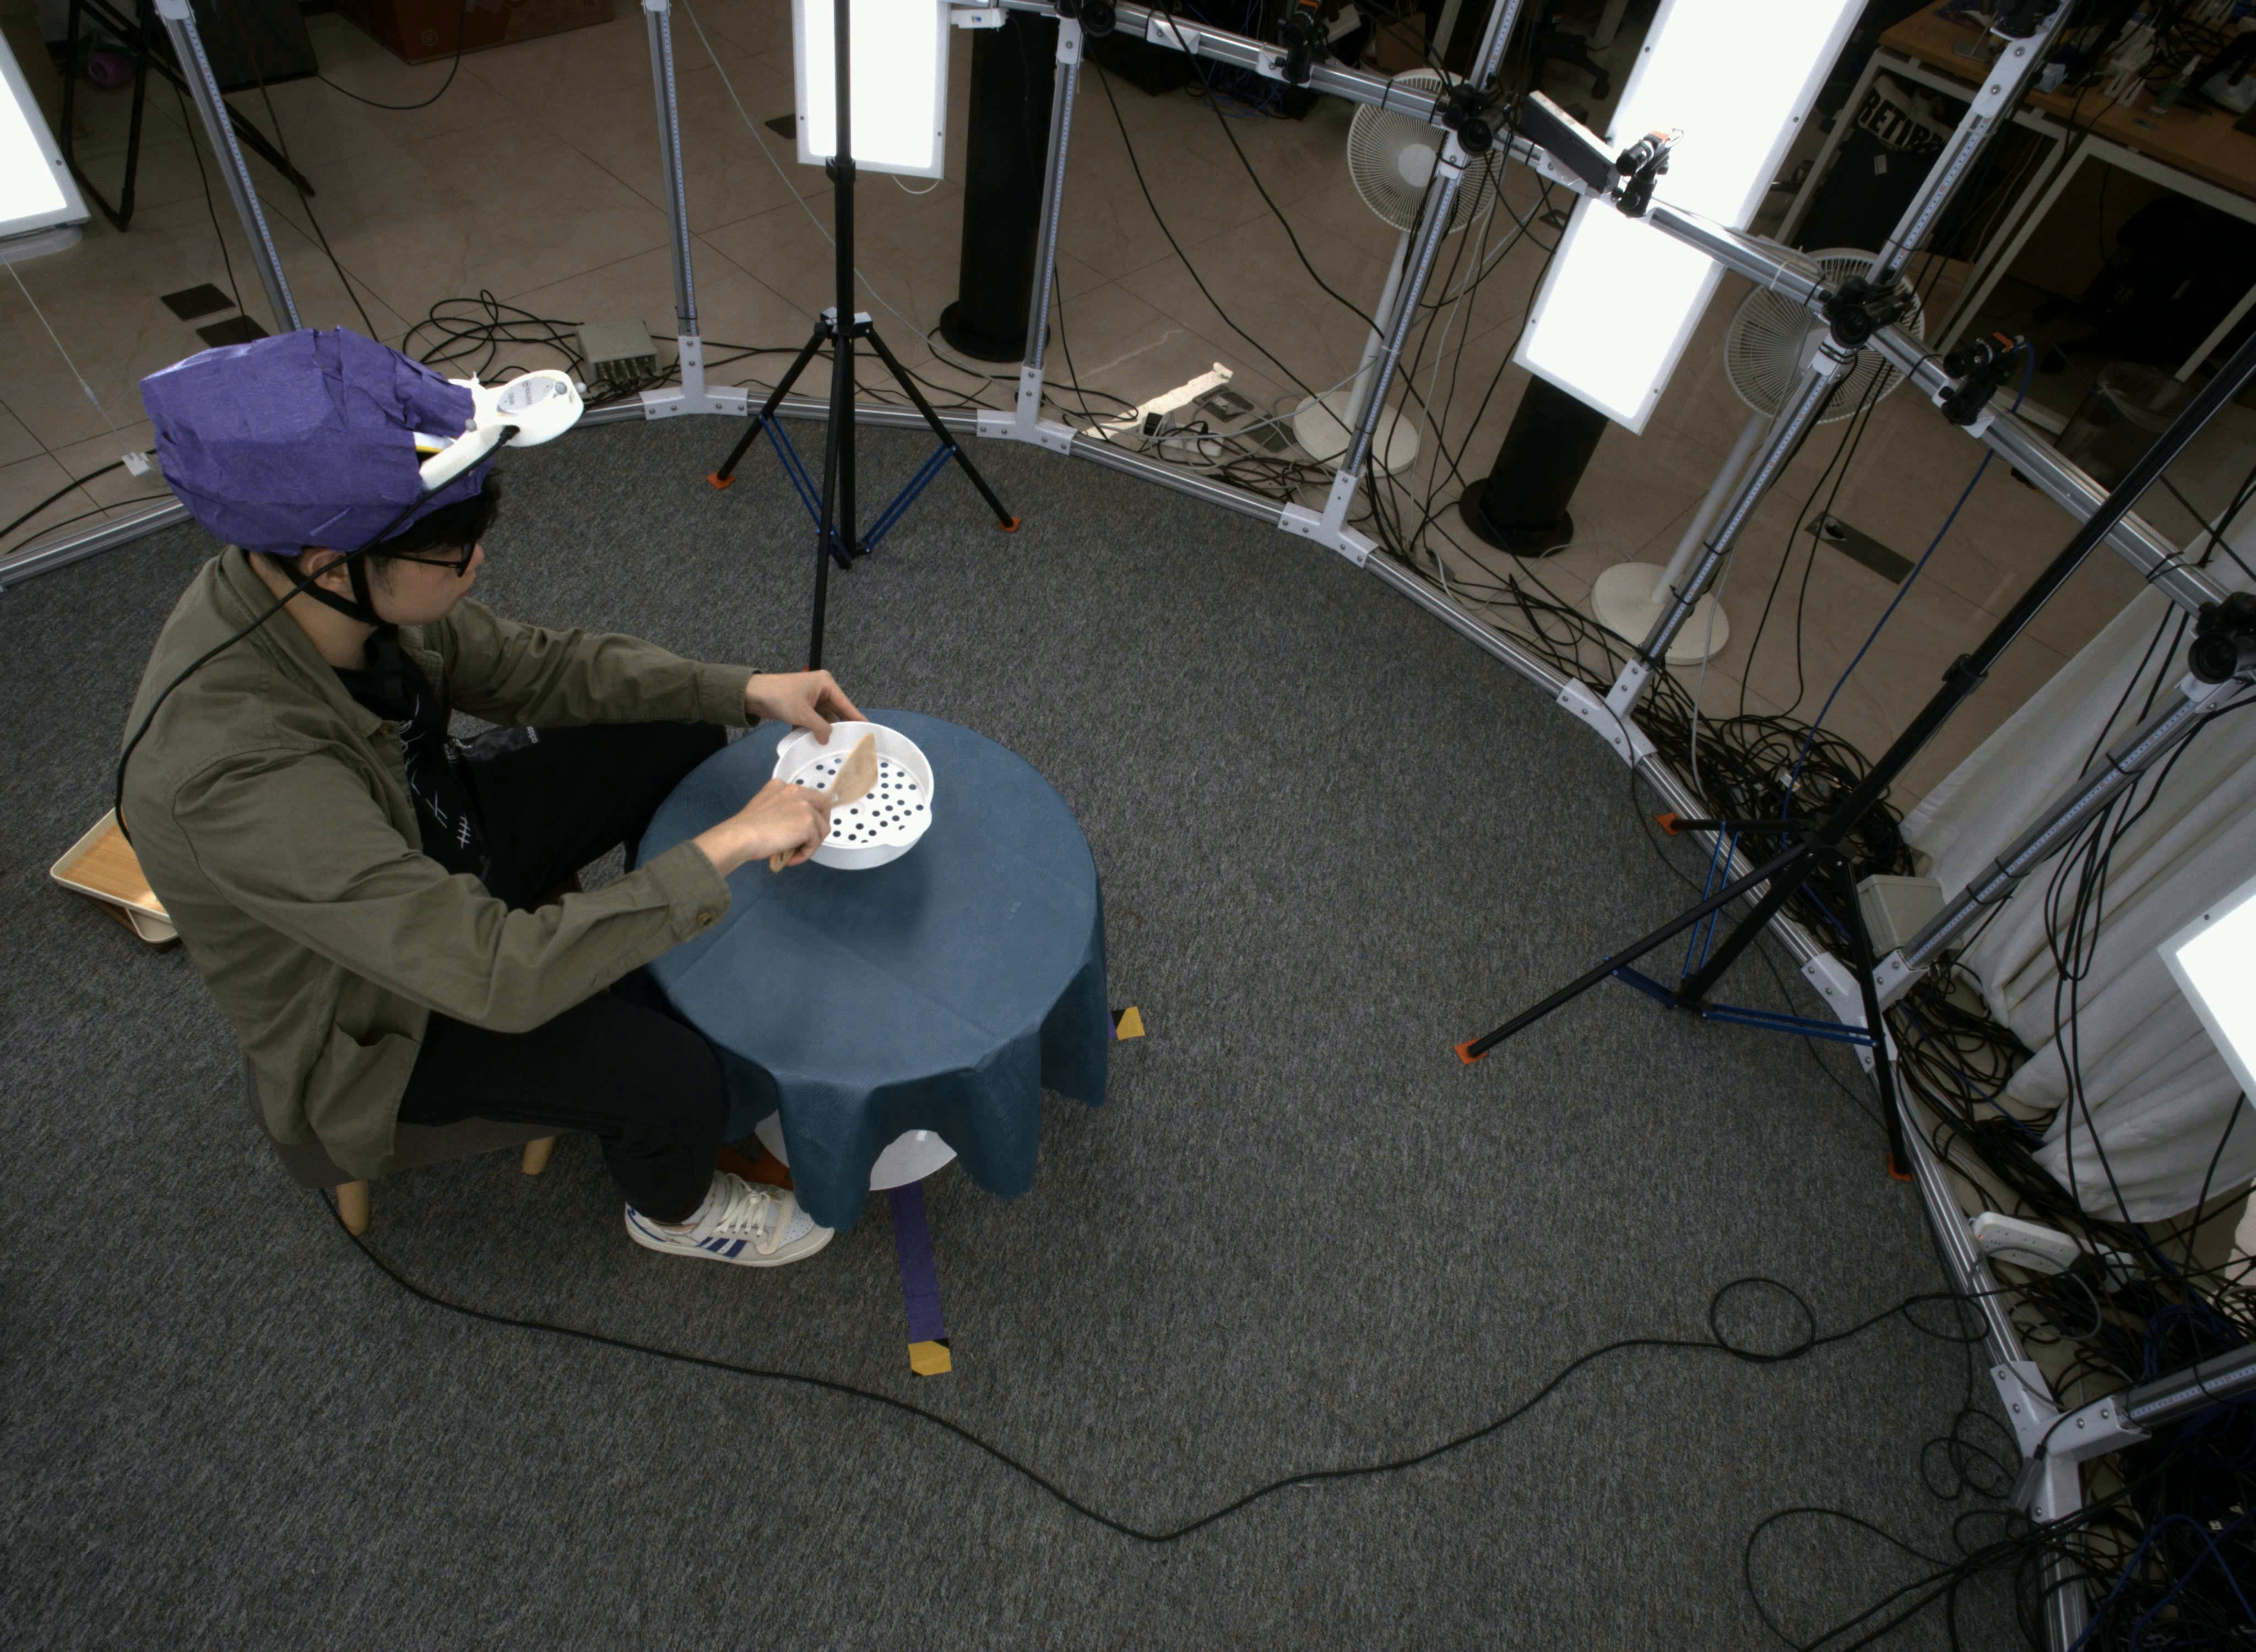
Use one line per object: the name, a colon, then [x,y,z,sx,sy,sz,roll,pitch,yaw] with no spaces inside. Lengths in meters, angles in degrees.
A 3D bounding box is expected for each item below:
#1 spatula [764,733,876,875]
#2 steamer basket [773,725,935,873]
spatula: [-0.351,-0.023,1.497,0.016,0.082,0.323,7,25,6]
steamer basket: [-0.347,-0.034,1.654,0.225,0.071,0.202,37,56,16]
